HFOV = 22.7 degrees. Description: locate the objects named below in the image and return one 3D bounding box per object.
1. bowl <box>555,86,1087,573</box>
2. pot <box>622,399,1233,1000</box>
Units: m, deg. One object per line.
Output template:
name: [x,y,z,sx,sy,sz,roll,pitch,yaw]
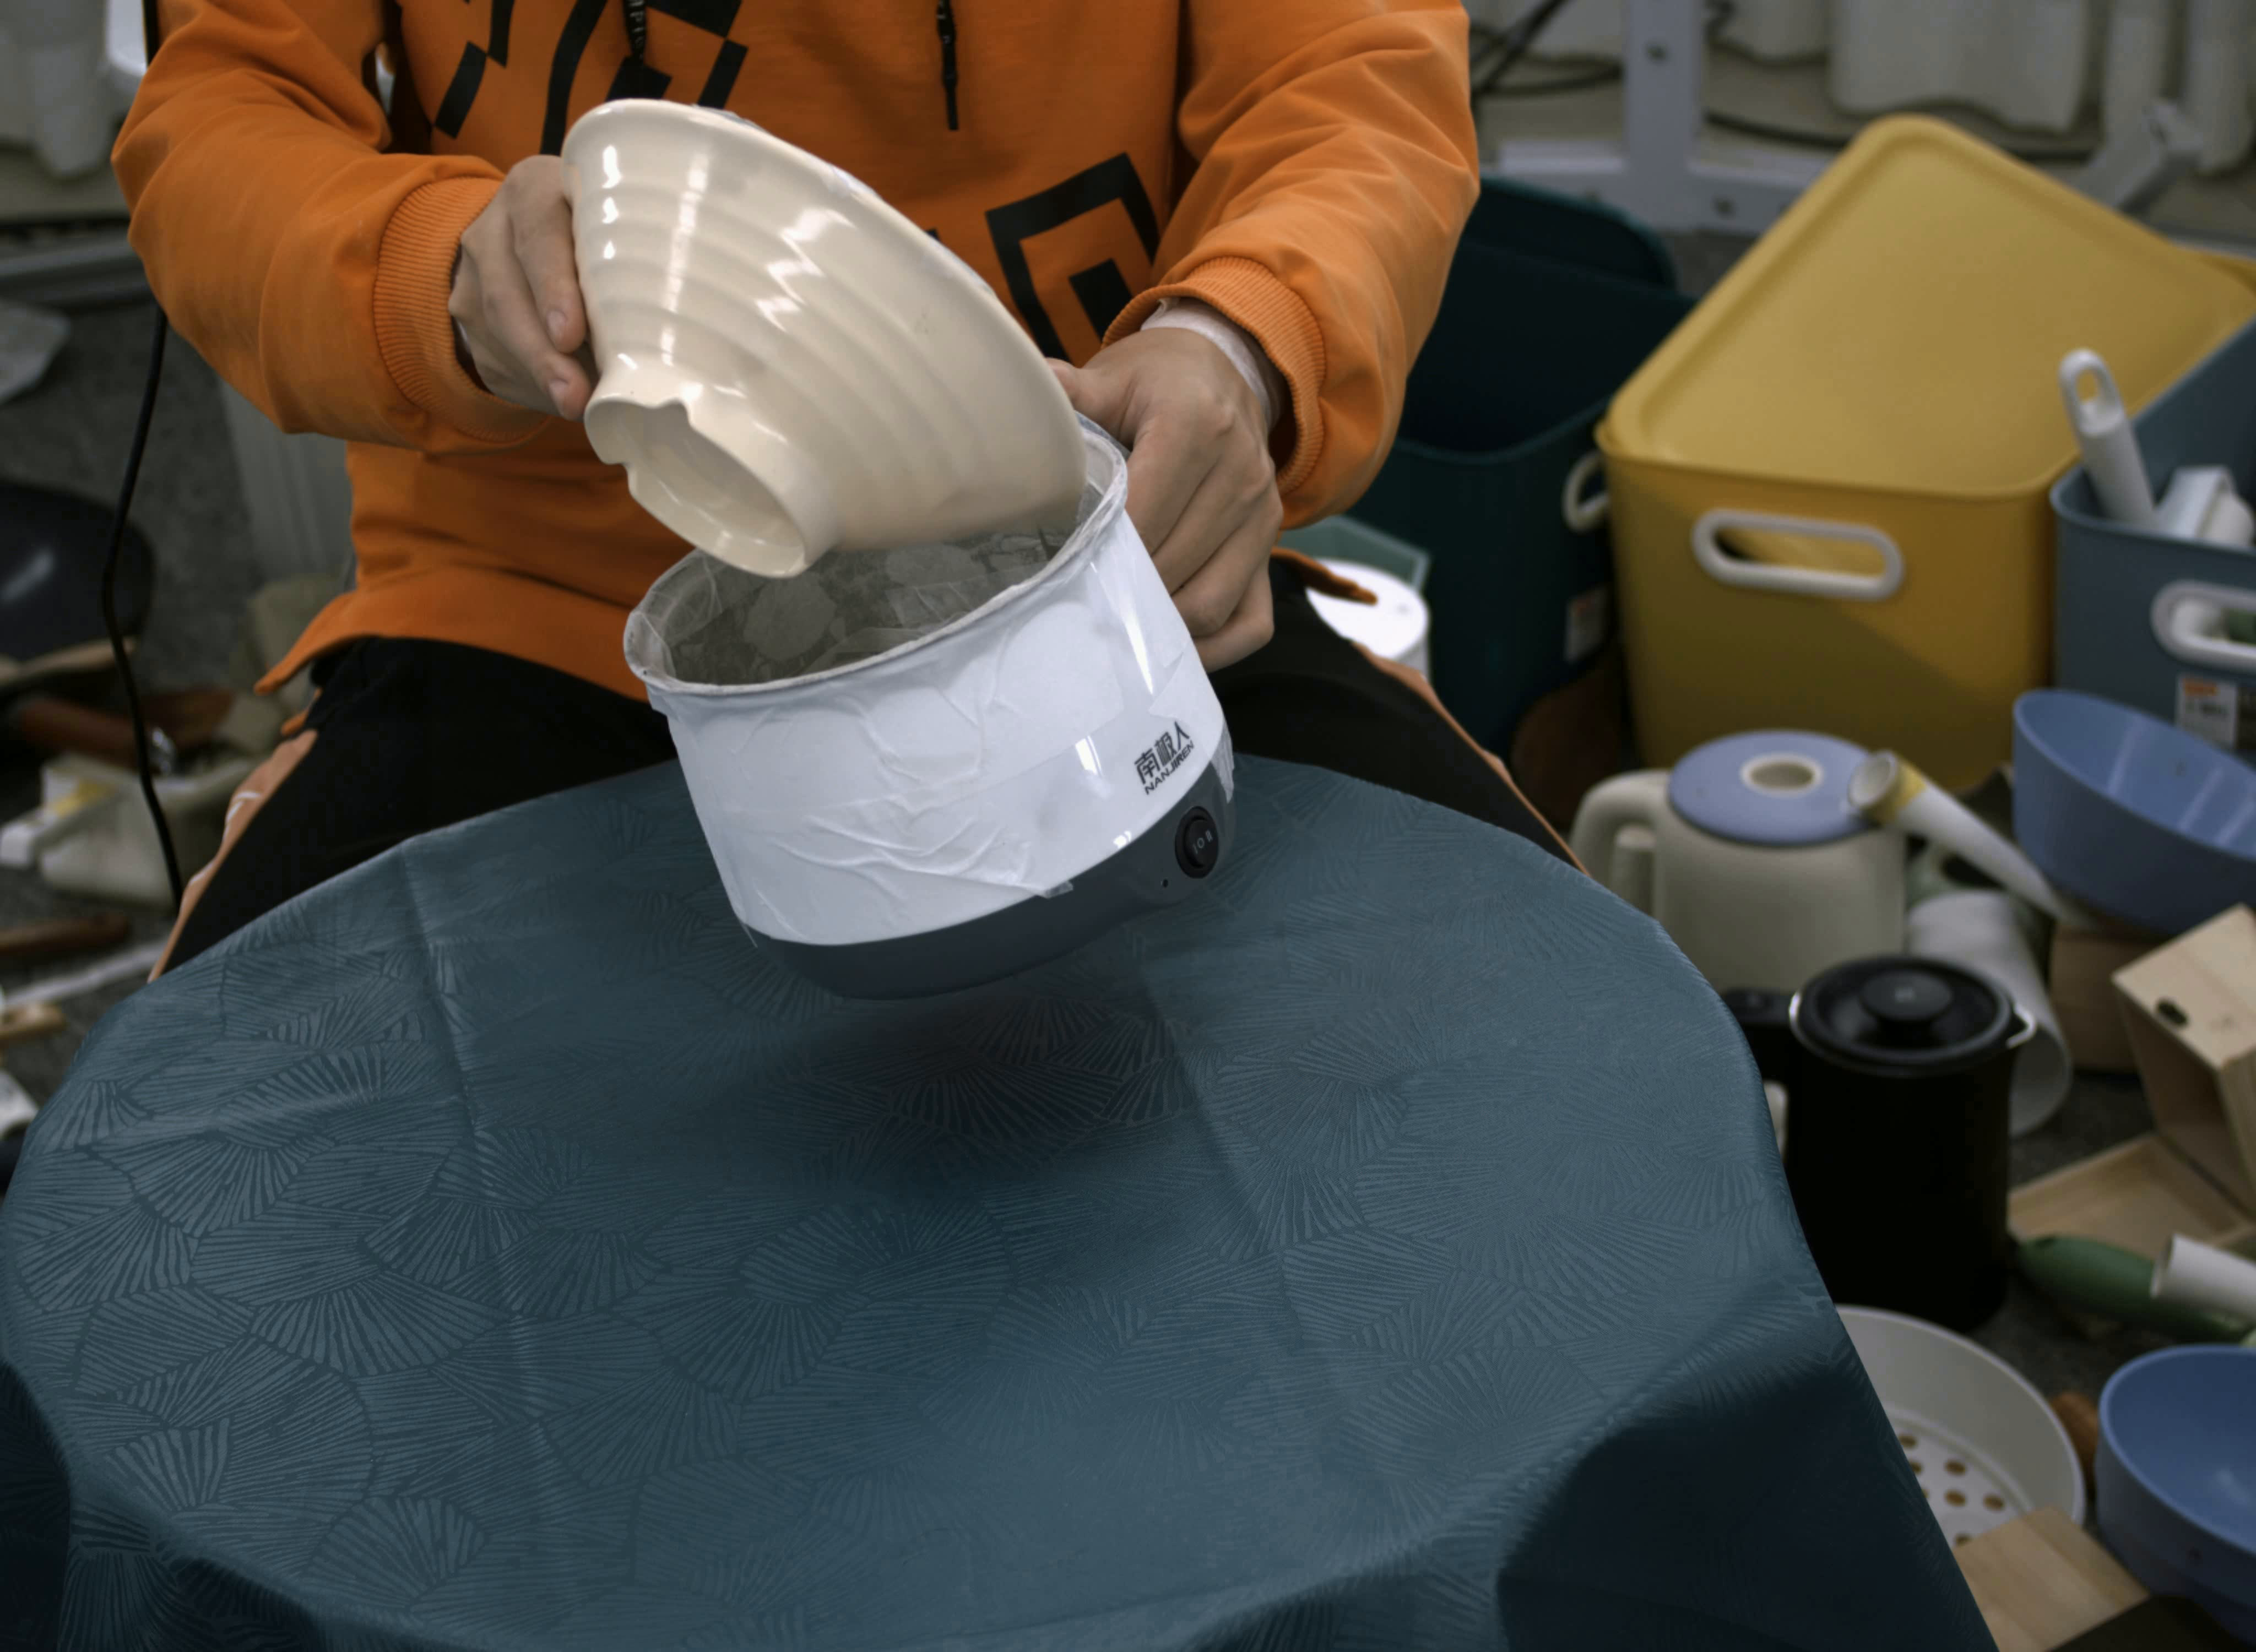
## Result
bowl: [-0.118,-0.139,1.812,0.203,0.201,0.079,17,62,33]
pot: [-0.049,-0.051,1.887,0.177,0.135,0.238,-2,30,35]
